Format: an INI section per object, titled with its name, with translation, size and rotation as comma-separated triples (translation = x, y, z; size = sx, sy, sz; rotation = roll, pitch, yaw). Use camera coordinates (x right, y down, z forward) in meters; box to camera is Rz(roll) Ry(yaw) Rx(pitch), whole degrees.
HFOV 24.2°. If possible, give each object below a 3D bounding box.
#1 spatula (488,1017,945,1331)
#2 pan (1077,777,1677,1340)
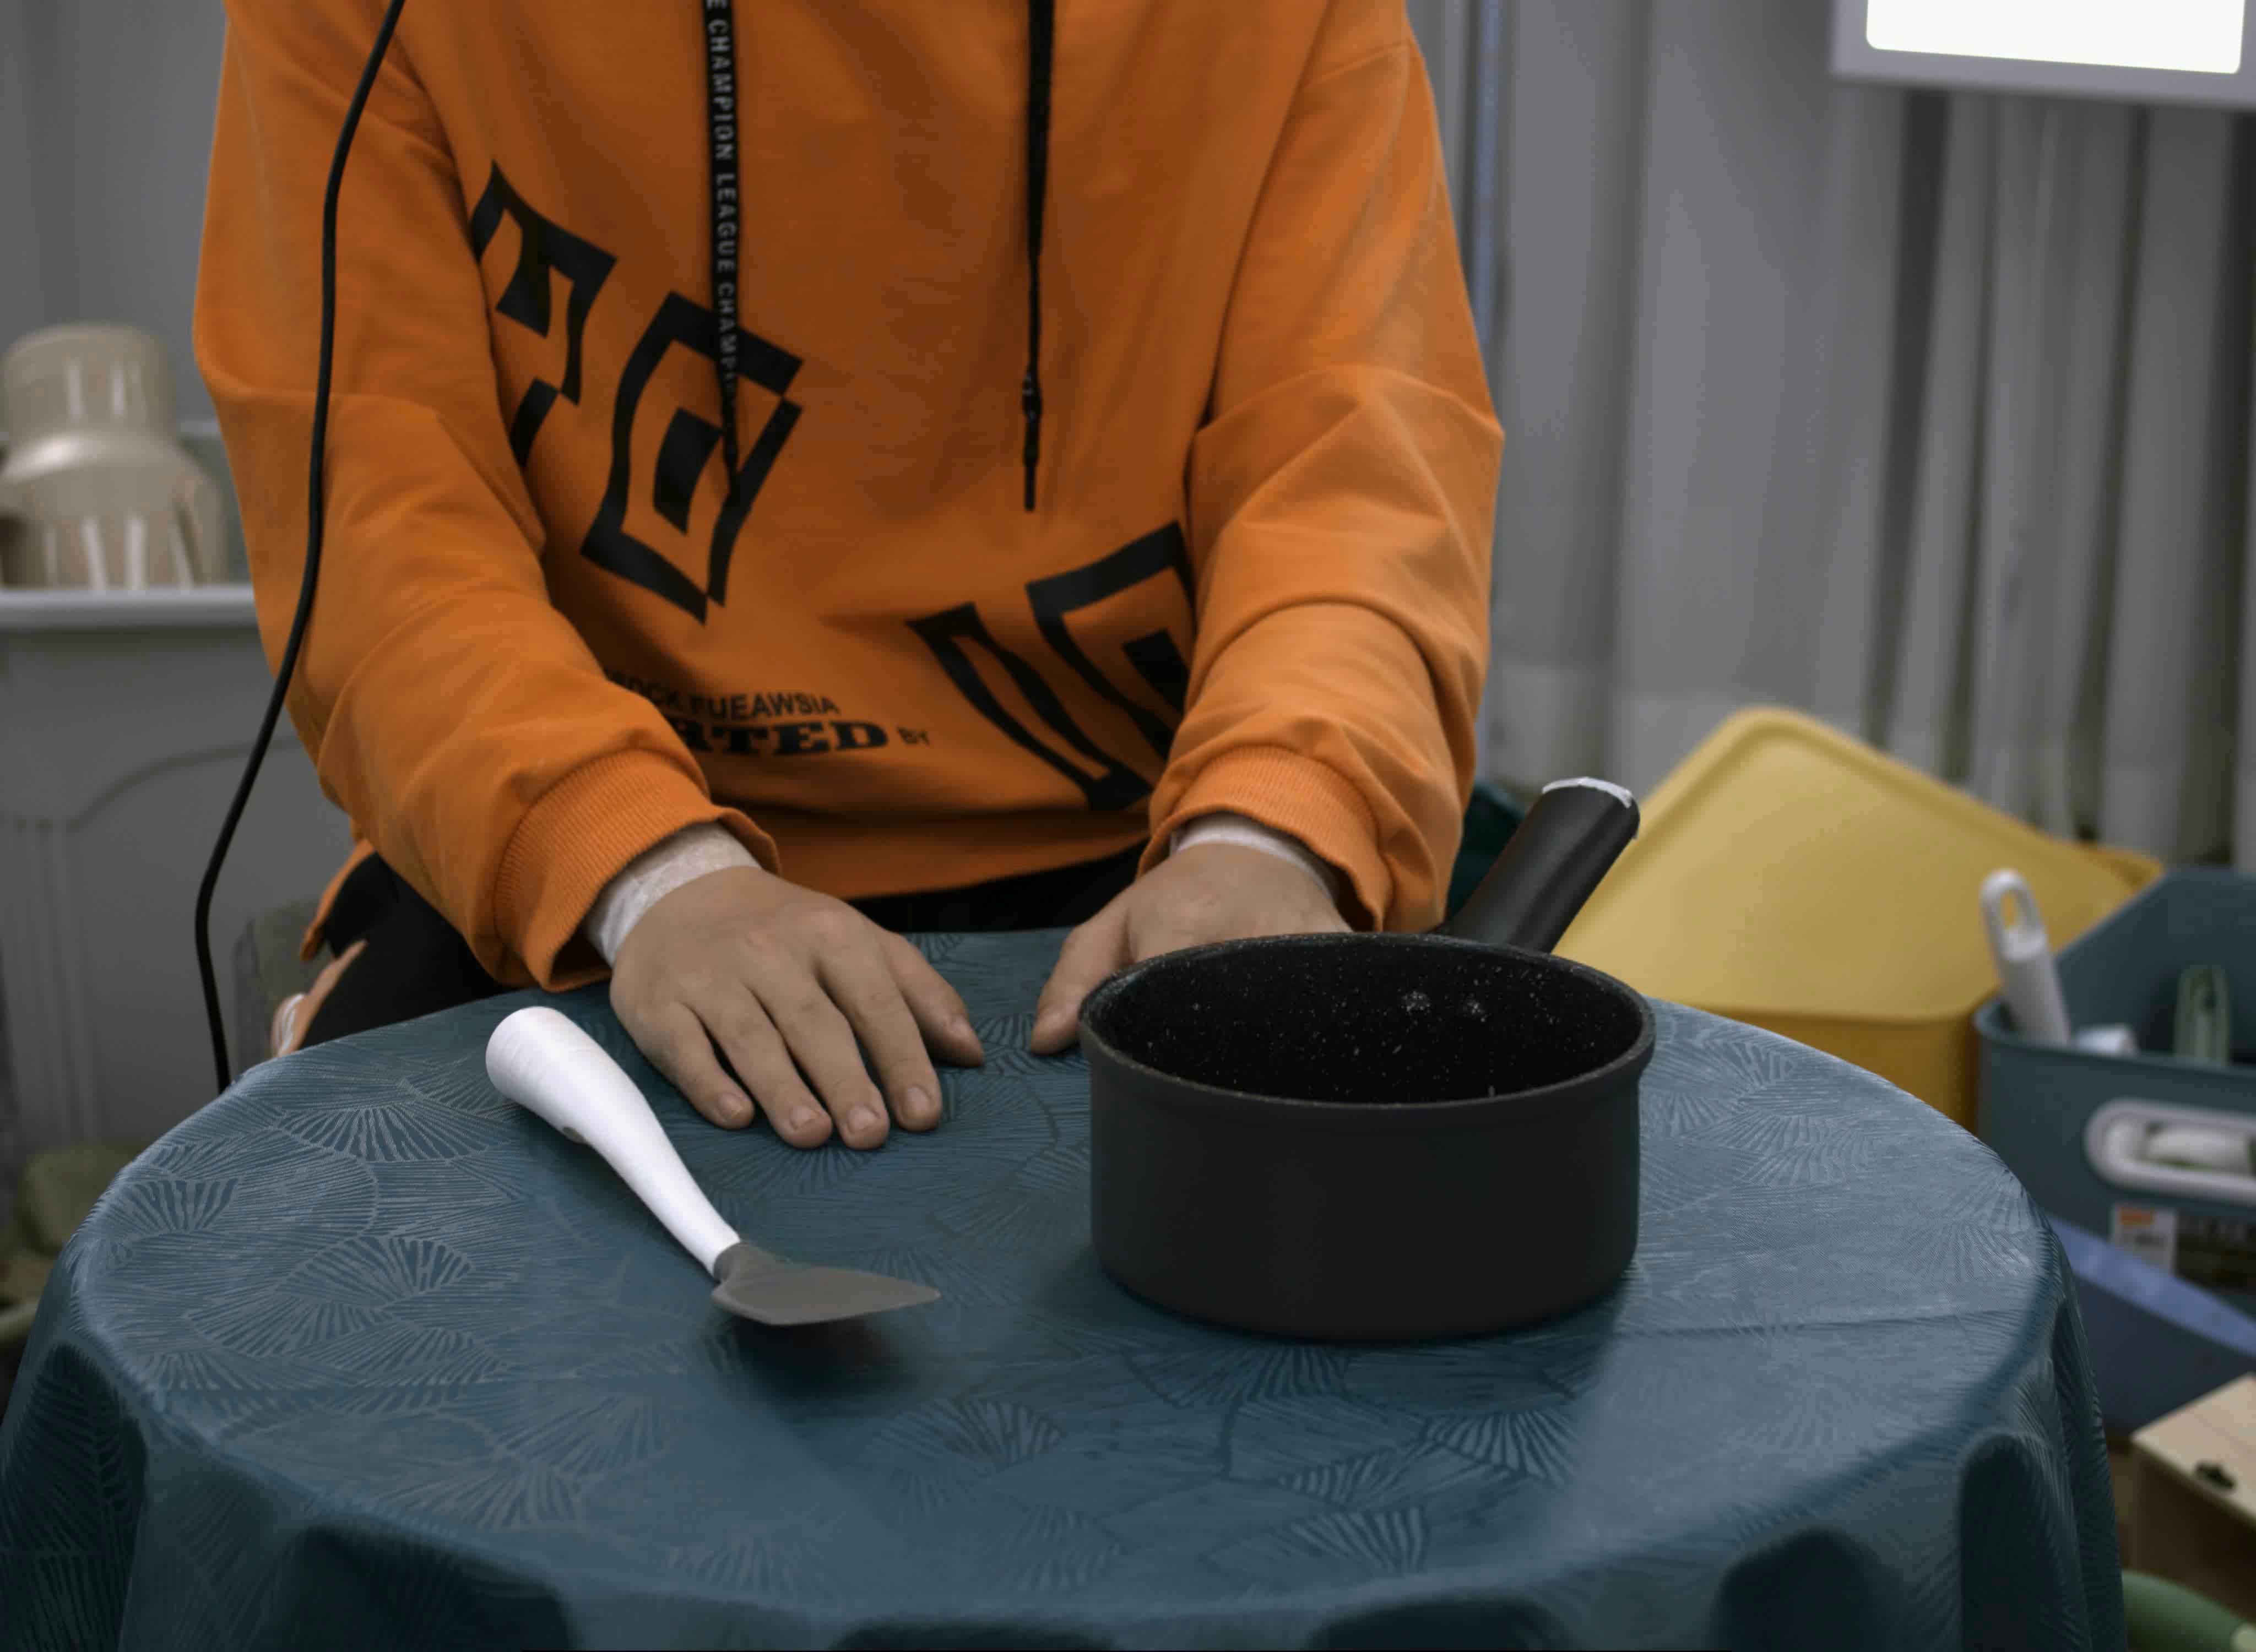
[spatula]
translation = -0.131, 0.109, 1.570
size = 0.059, 0.032, 0.284
rotation = -2, 14, -25
[pan]
translation = 0.101, 0.067, 1.628
size = 0.170, 0.087, 0.329
rotation = 8, 19, 22
